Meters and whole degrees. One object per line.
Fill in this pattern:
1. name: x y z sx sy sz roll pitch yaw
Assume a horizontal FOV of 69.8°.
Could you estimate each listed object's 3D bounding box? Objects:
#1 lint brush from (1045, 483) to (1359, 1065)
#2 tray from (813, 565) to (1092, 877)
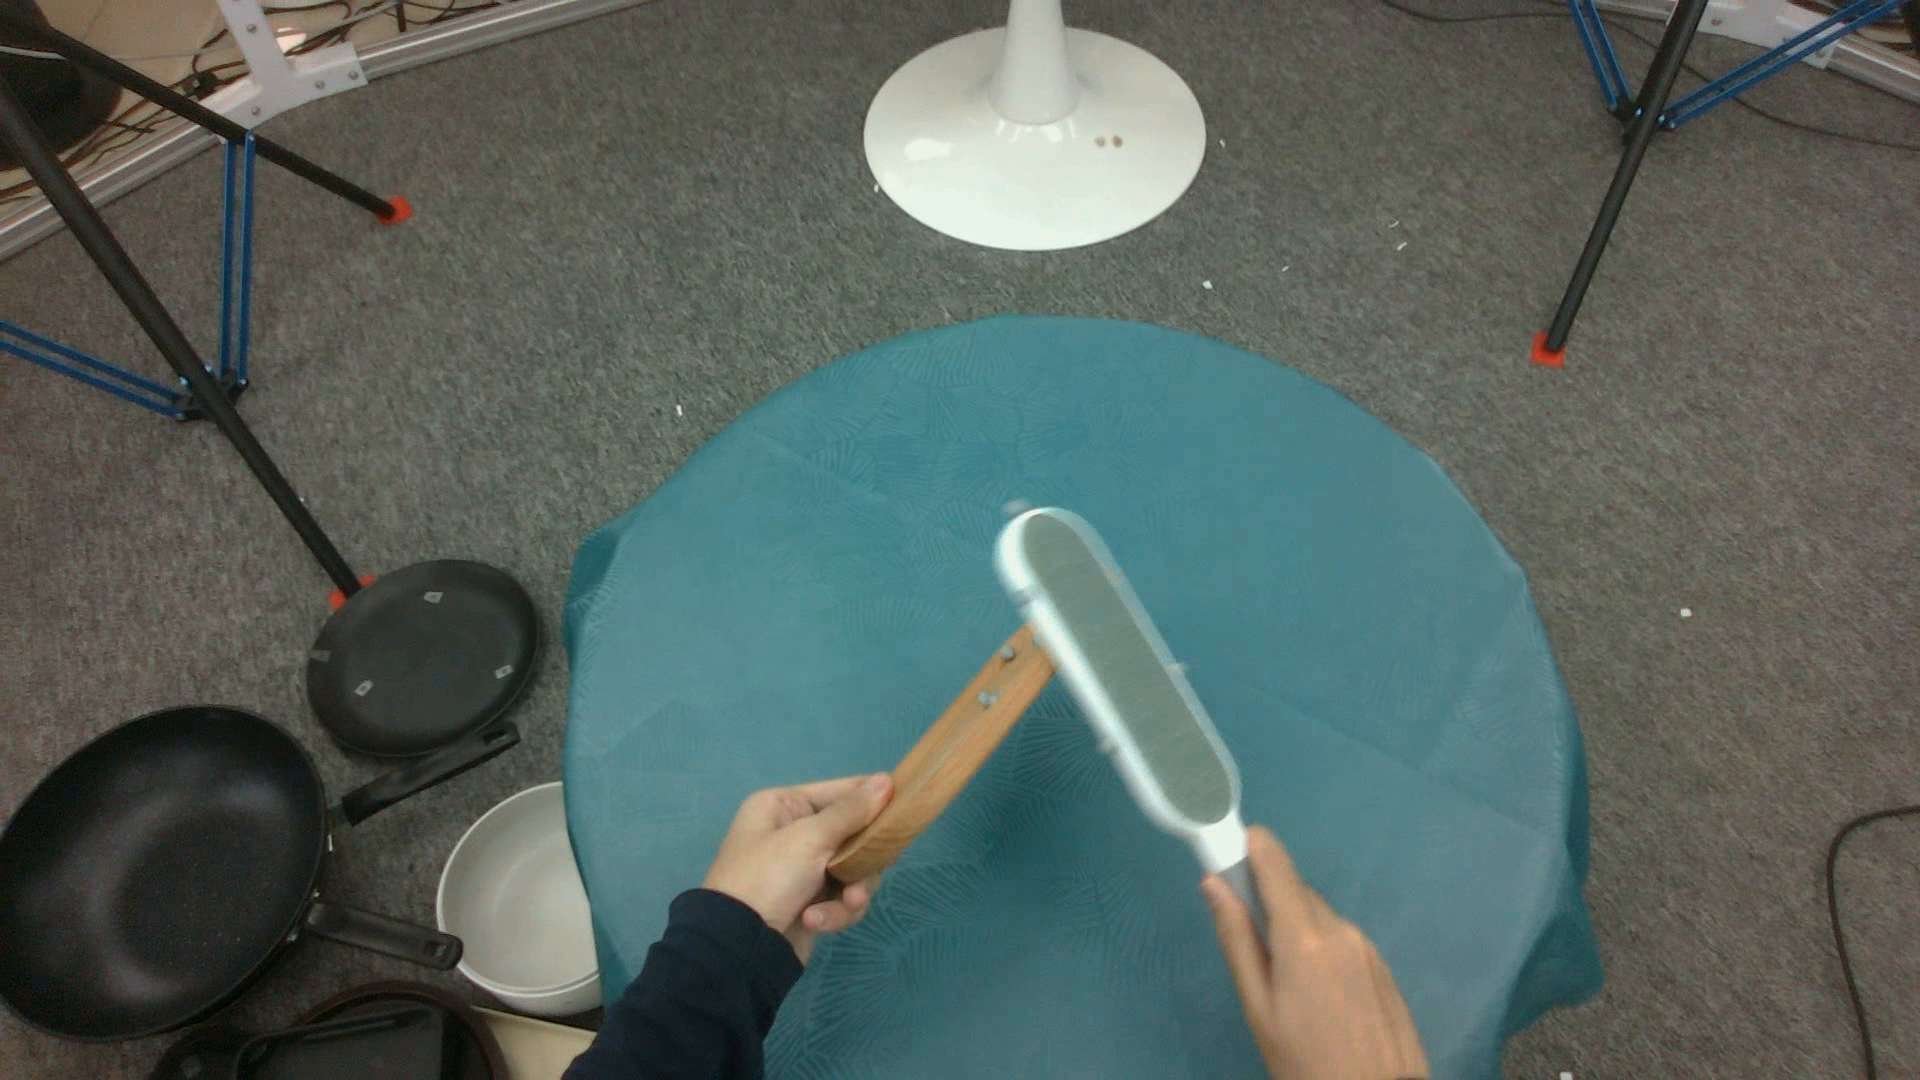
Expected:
1. lint brush: 0.119 0.109 0.685 0.060 0.021 0.309 -11 71 -41
2. tray: 0.006 0.083 0.693 0.020 0.101 0.232 44 49 -2
